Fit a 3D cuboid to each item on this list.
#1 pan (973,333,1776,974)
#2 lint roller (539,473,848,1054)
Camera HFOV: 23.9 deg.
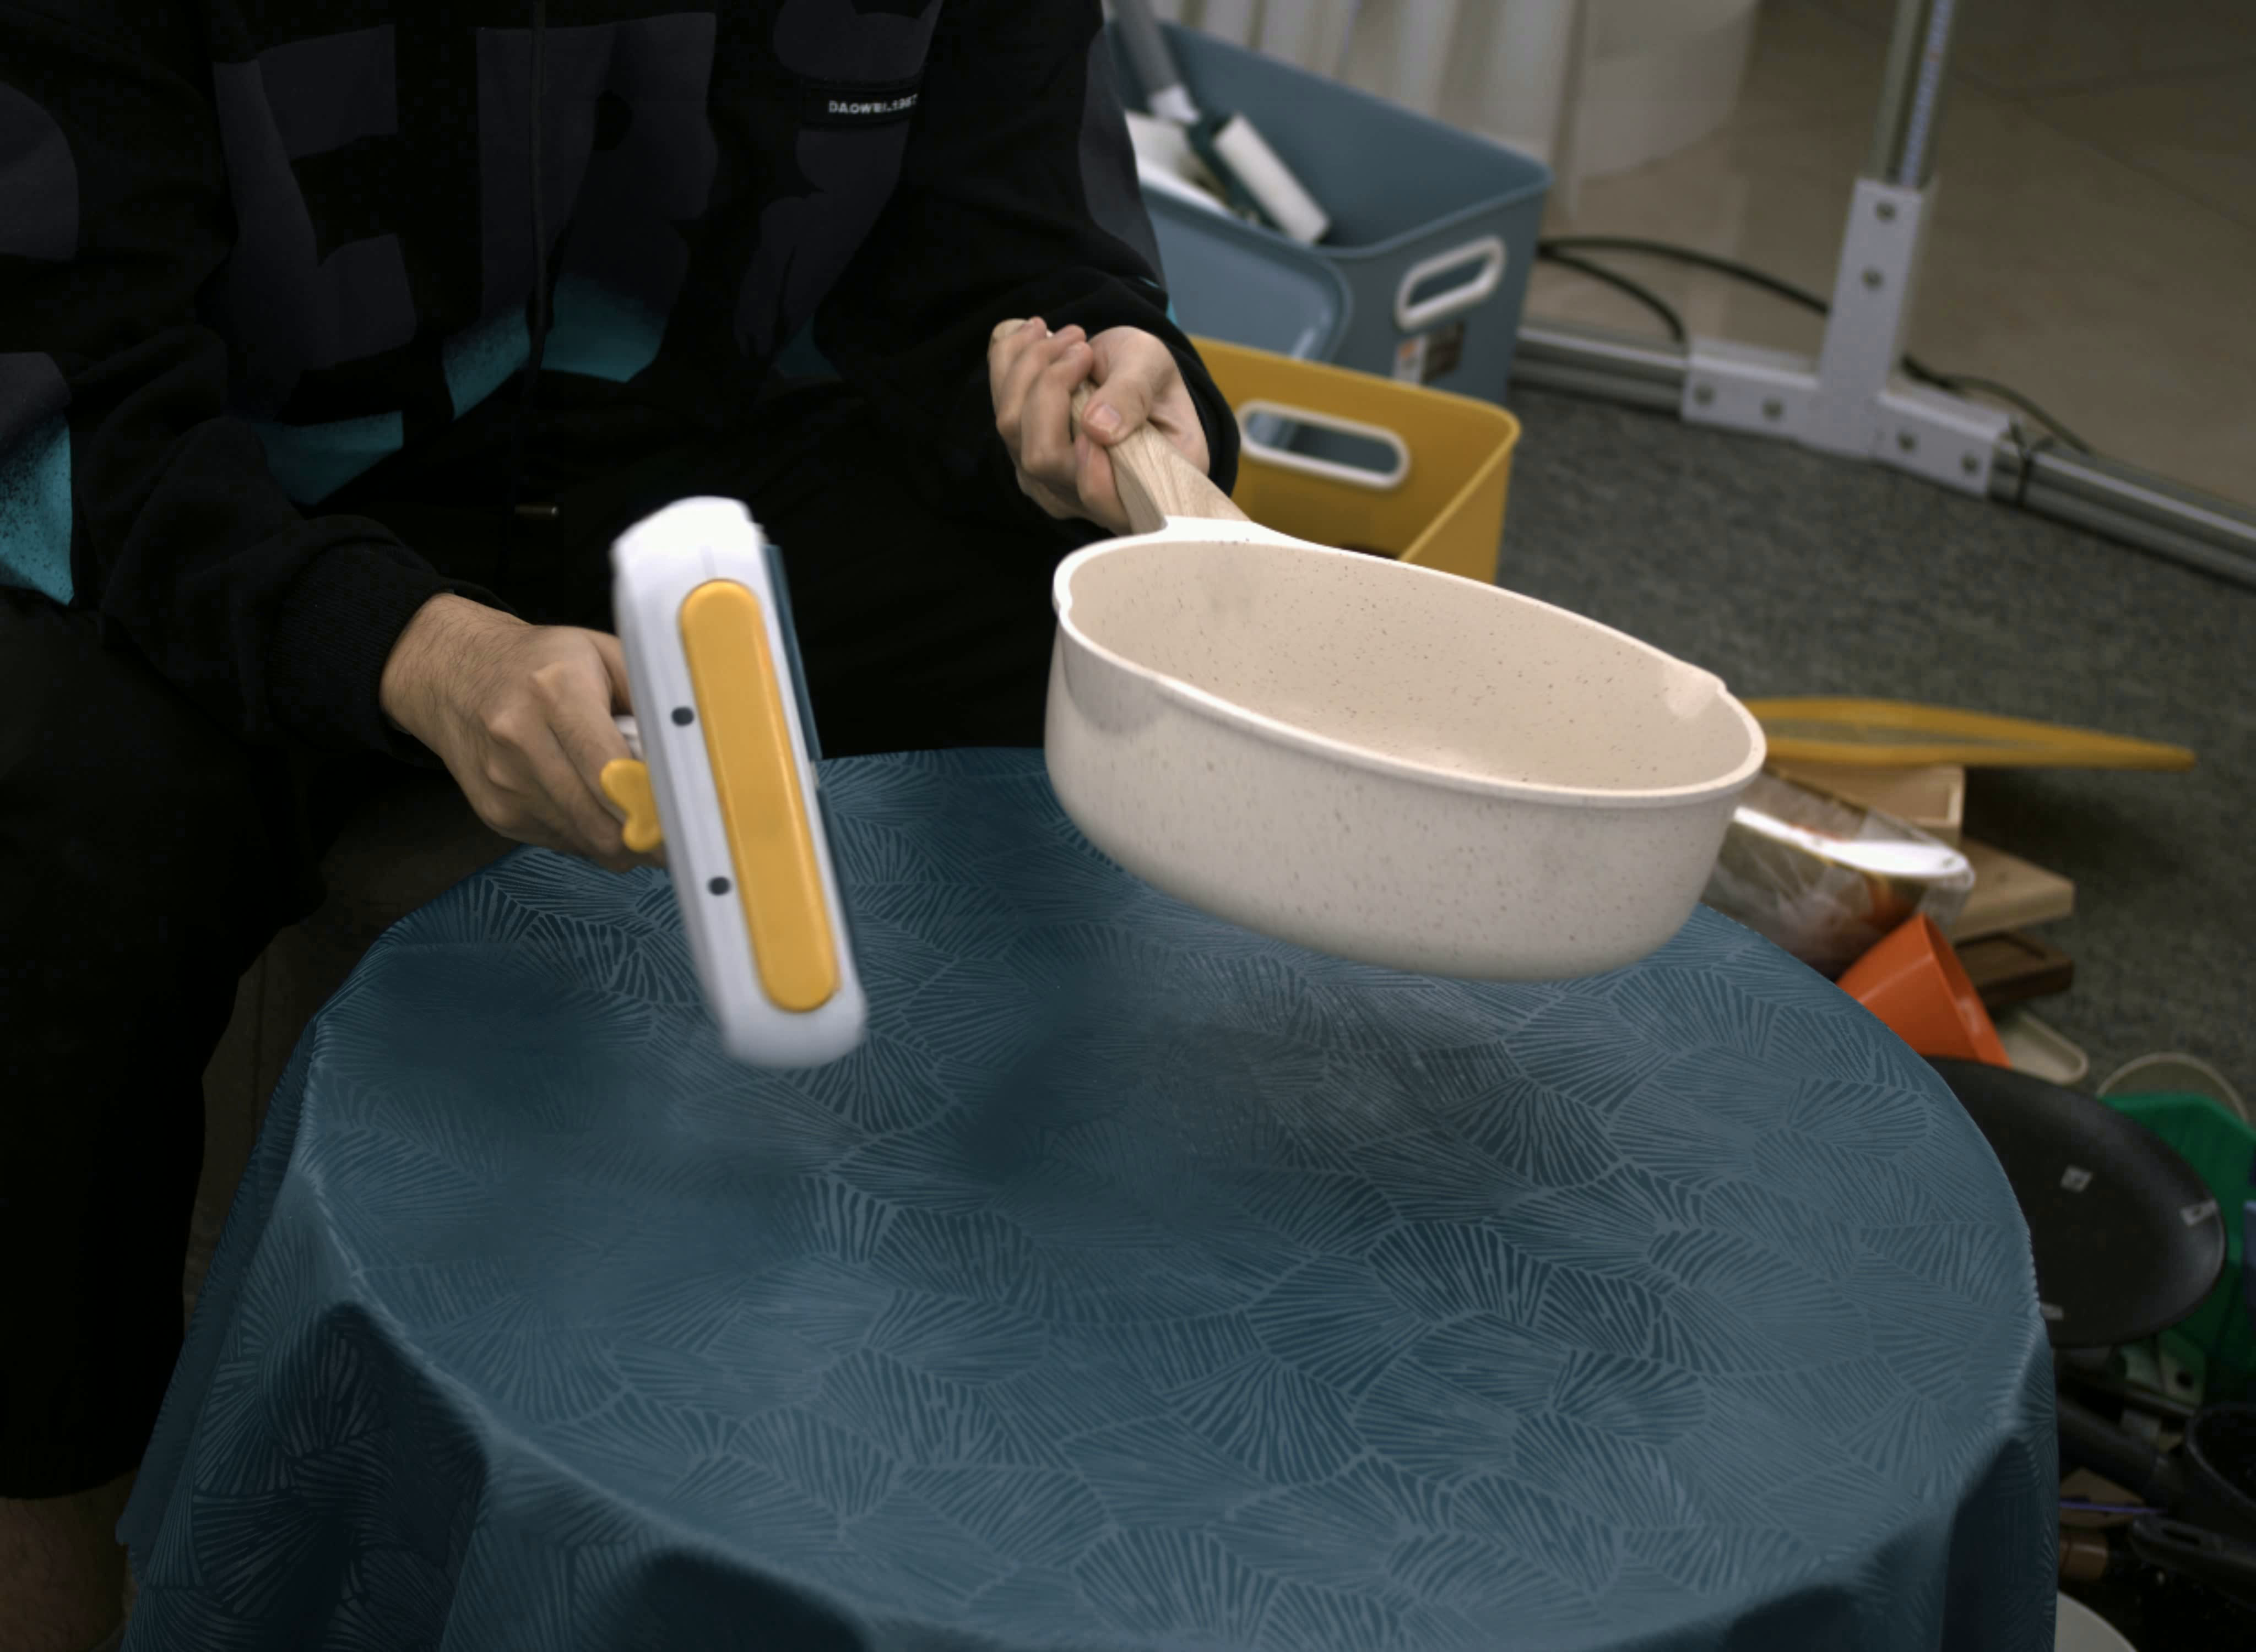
[{"bbox_3d":[0.048,-0.063,1.900,0.261,0.102,0.438,1,21,-31],"label":"pan"},{"bbox_3d":[-0.155,-0.019,1.808,0.074,0.193,0.193,-15,5,-16],"label":"lint roller"}]
